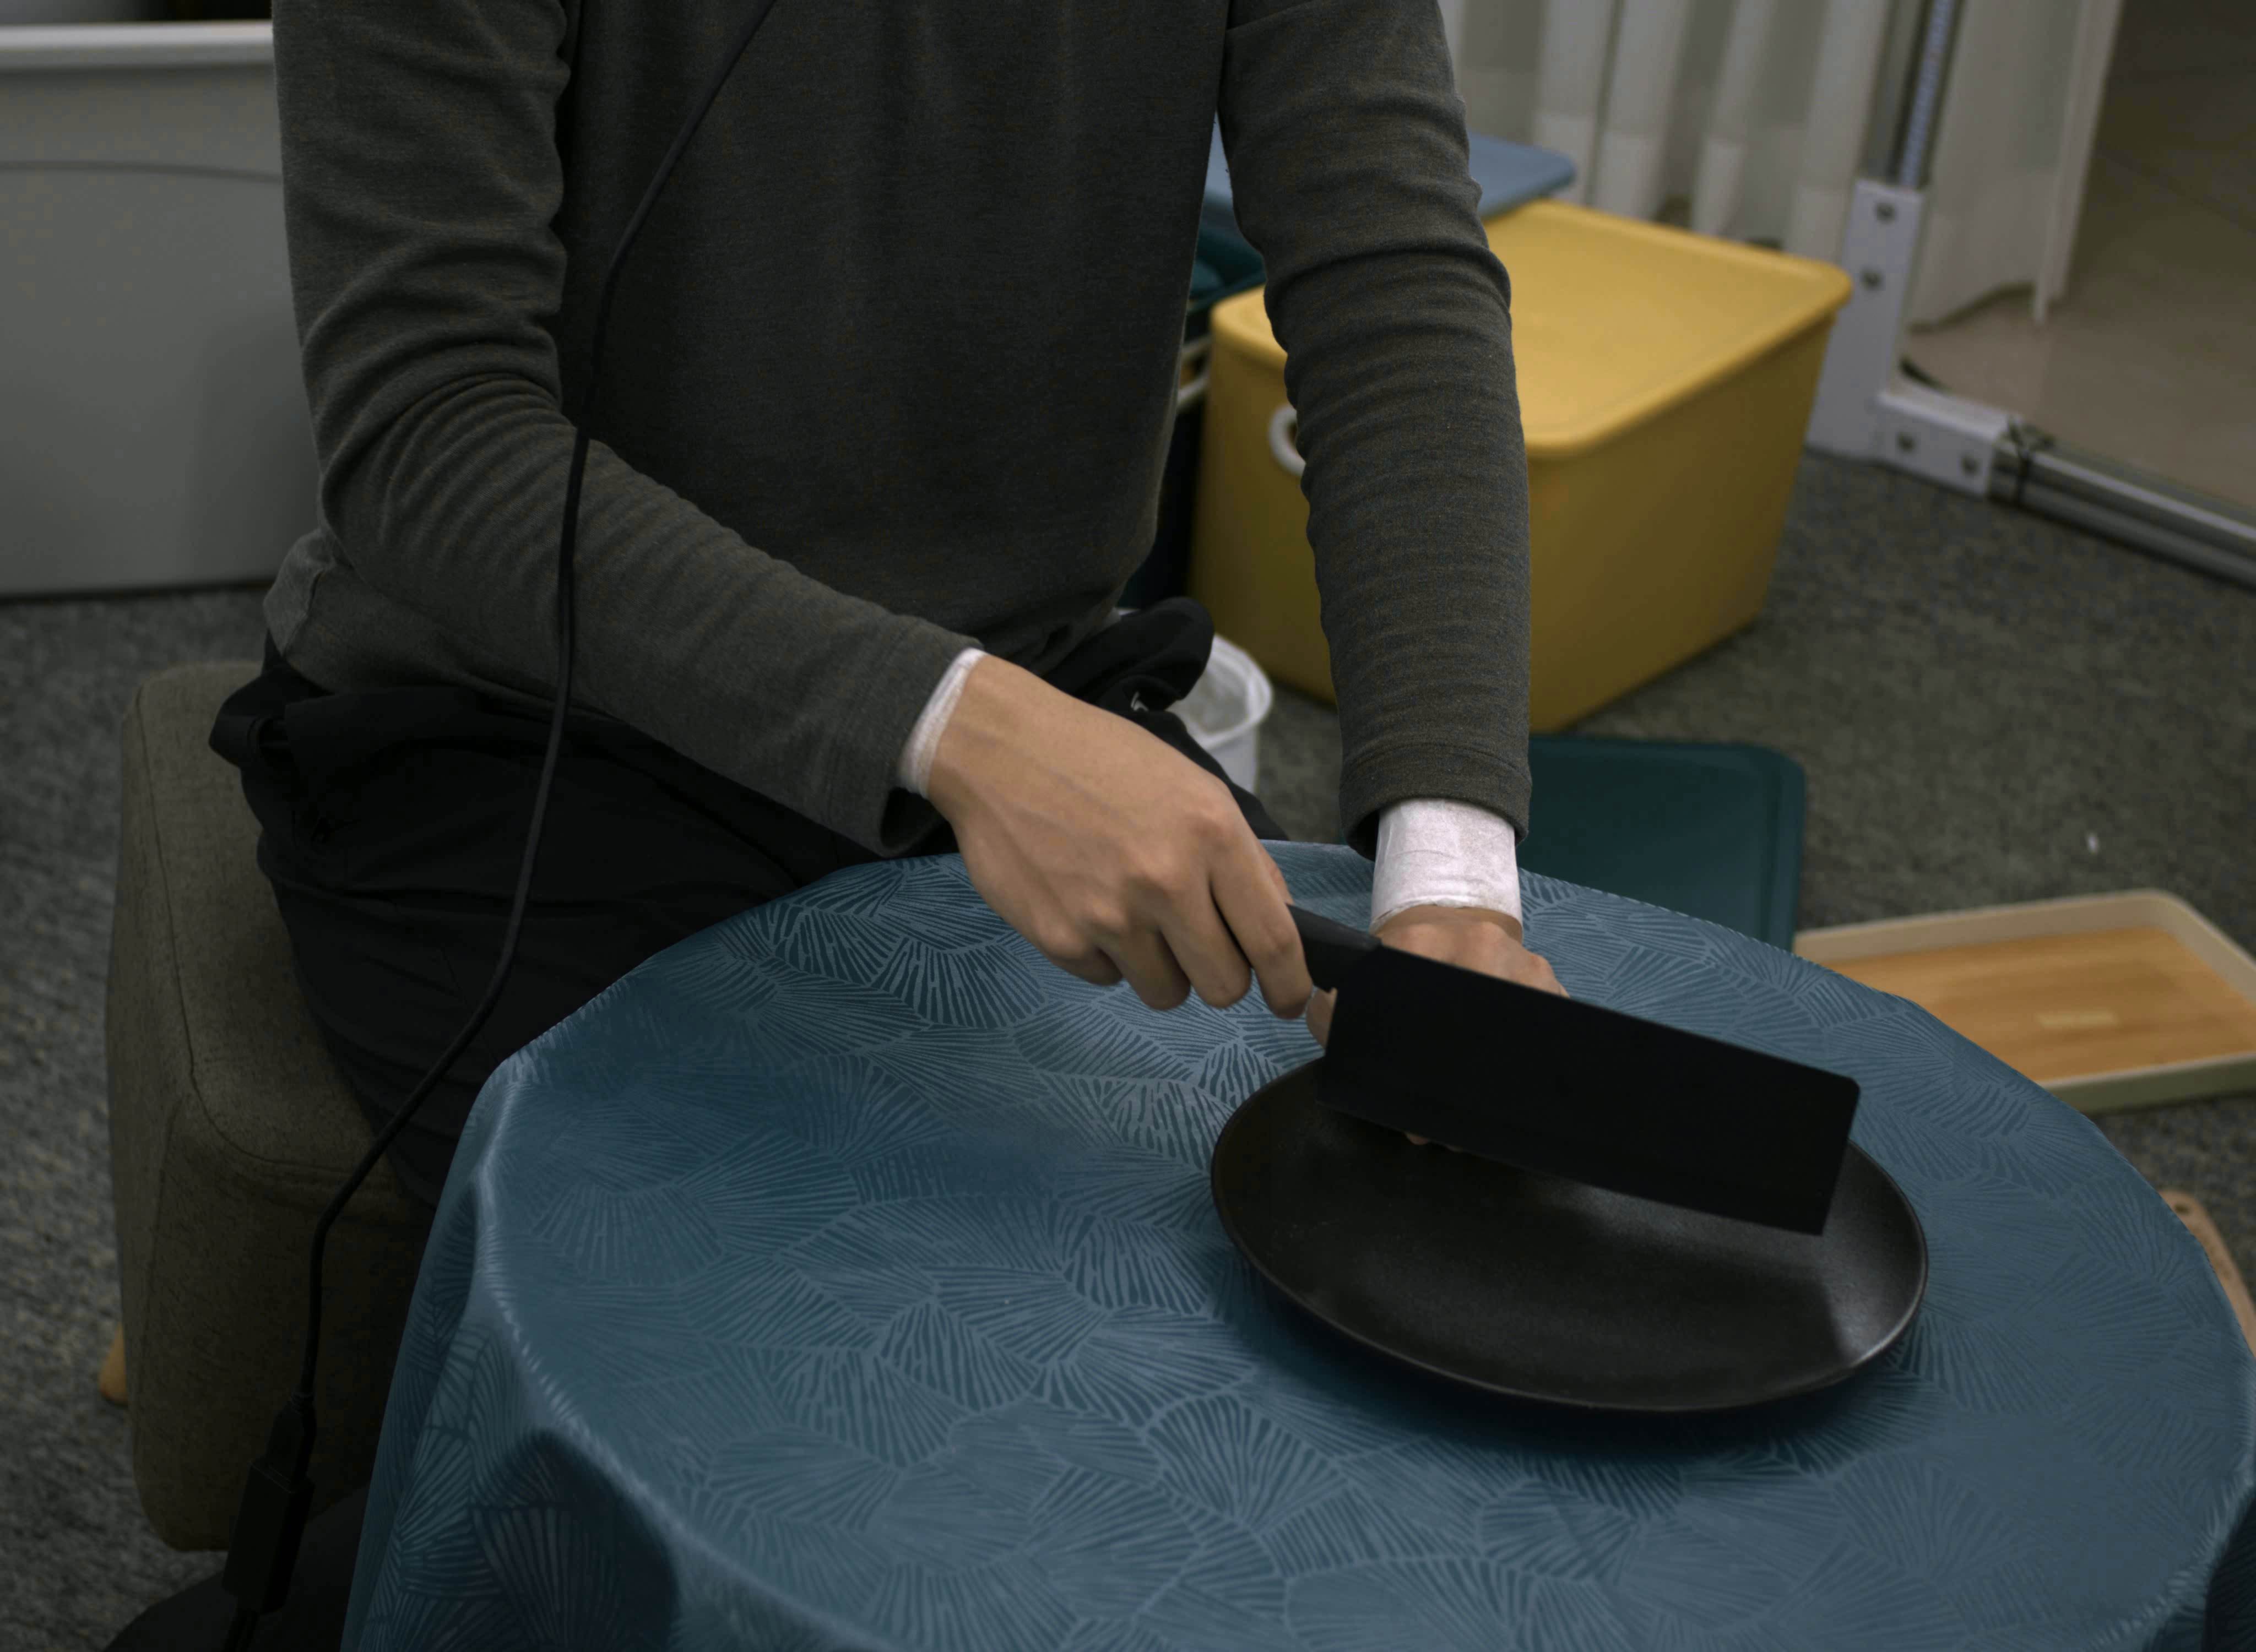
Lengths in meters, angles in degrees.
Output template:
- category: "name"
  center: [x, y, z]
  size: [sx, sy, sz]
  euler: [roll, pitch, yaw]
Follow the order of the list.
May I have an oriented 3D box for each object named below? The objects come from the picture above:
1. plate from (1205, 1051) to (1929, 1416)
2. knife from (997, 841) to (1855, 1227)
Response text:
- category: "plate"
  center: [0.146, 0.138, 1.786]
  size: [0.243, 0.023, 0.246]
  euler: [5, 26, -3]
- category: "knife"
  center: [0.098, 0.068, 1.808]
  size: [0.302, 0.081, 0.021]
  euler: [20, 24, 11]
